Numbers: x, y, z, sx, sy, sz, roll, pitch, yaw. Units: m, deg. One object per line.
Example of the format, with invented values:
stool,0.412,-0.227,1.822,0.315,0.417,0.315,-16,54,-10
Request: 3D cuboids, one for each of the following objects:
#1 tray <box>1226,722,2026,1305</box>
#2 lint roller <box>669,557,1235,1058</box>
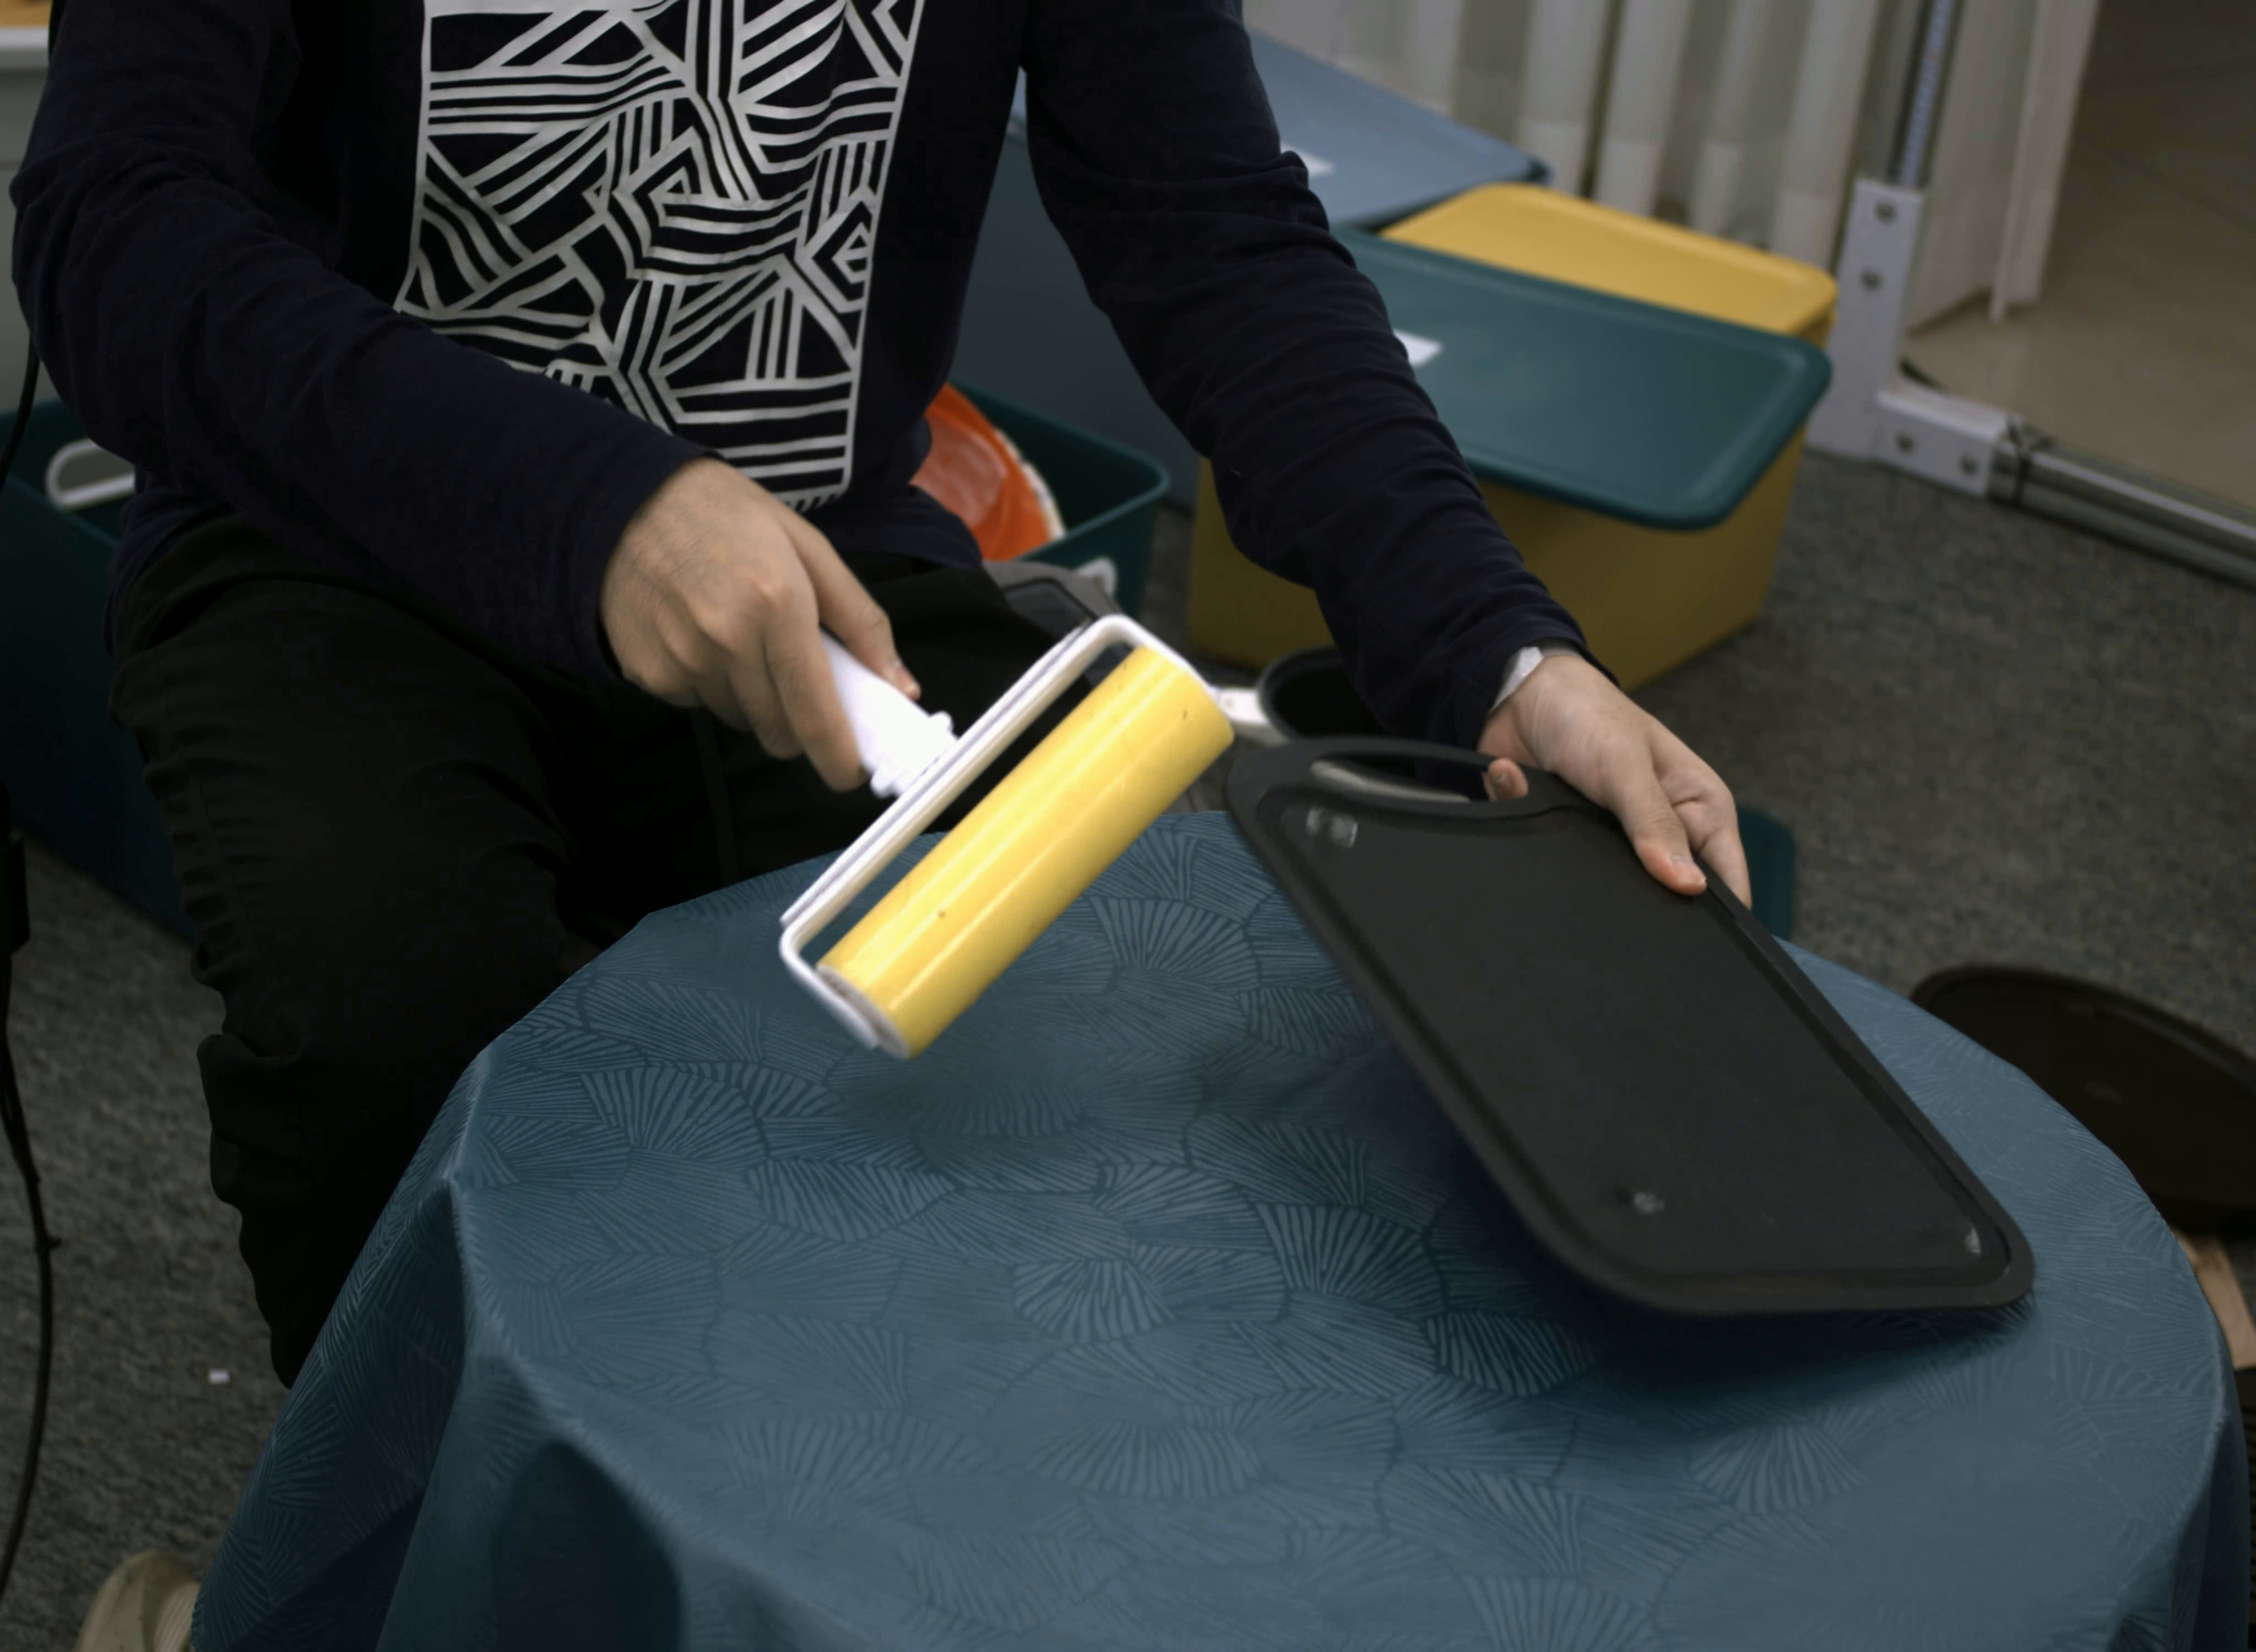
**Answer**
tray,0.165,0.058,1.847,0.209,0.010,0.328,5,33,-34
lint roller,-0.087,-0.037,1.854,0.193,0.051,0.174,40,75,13
